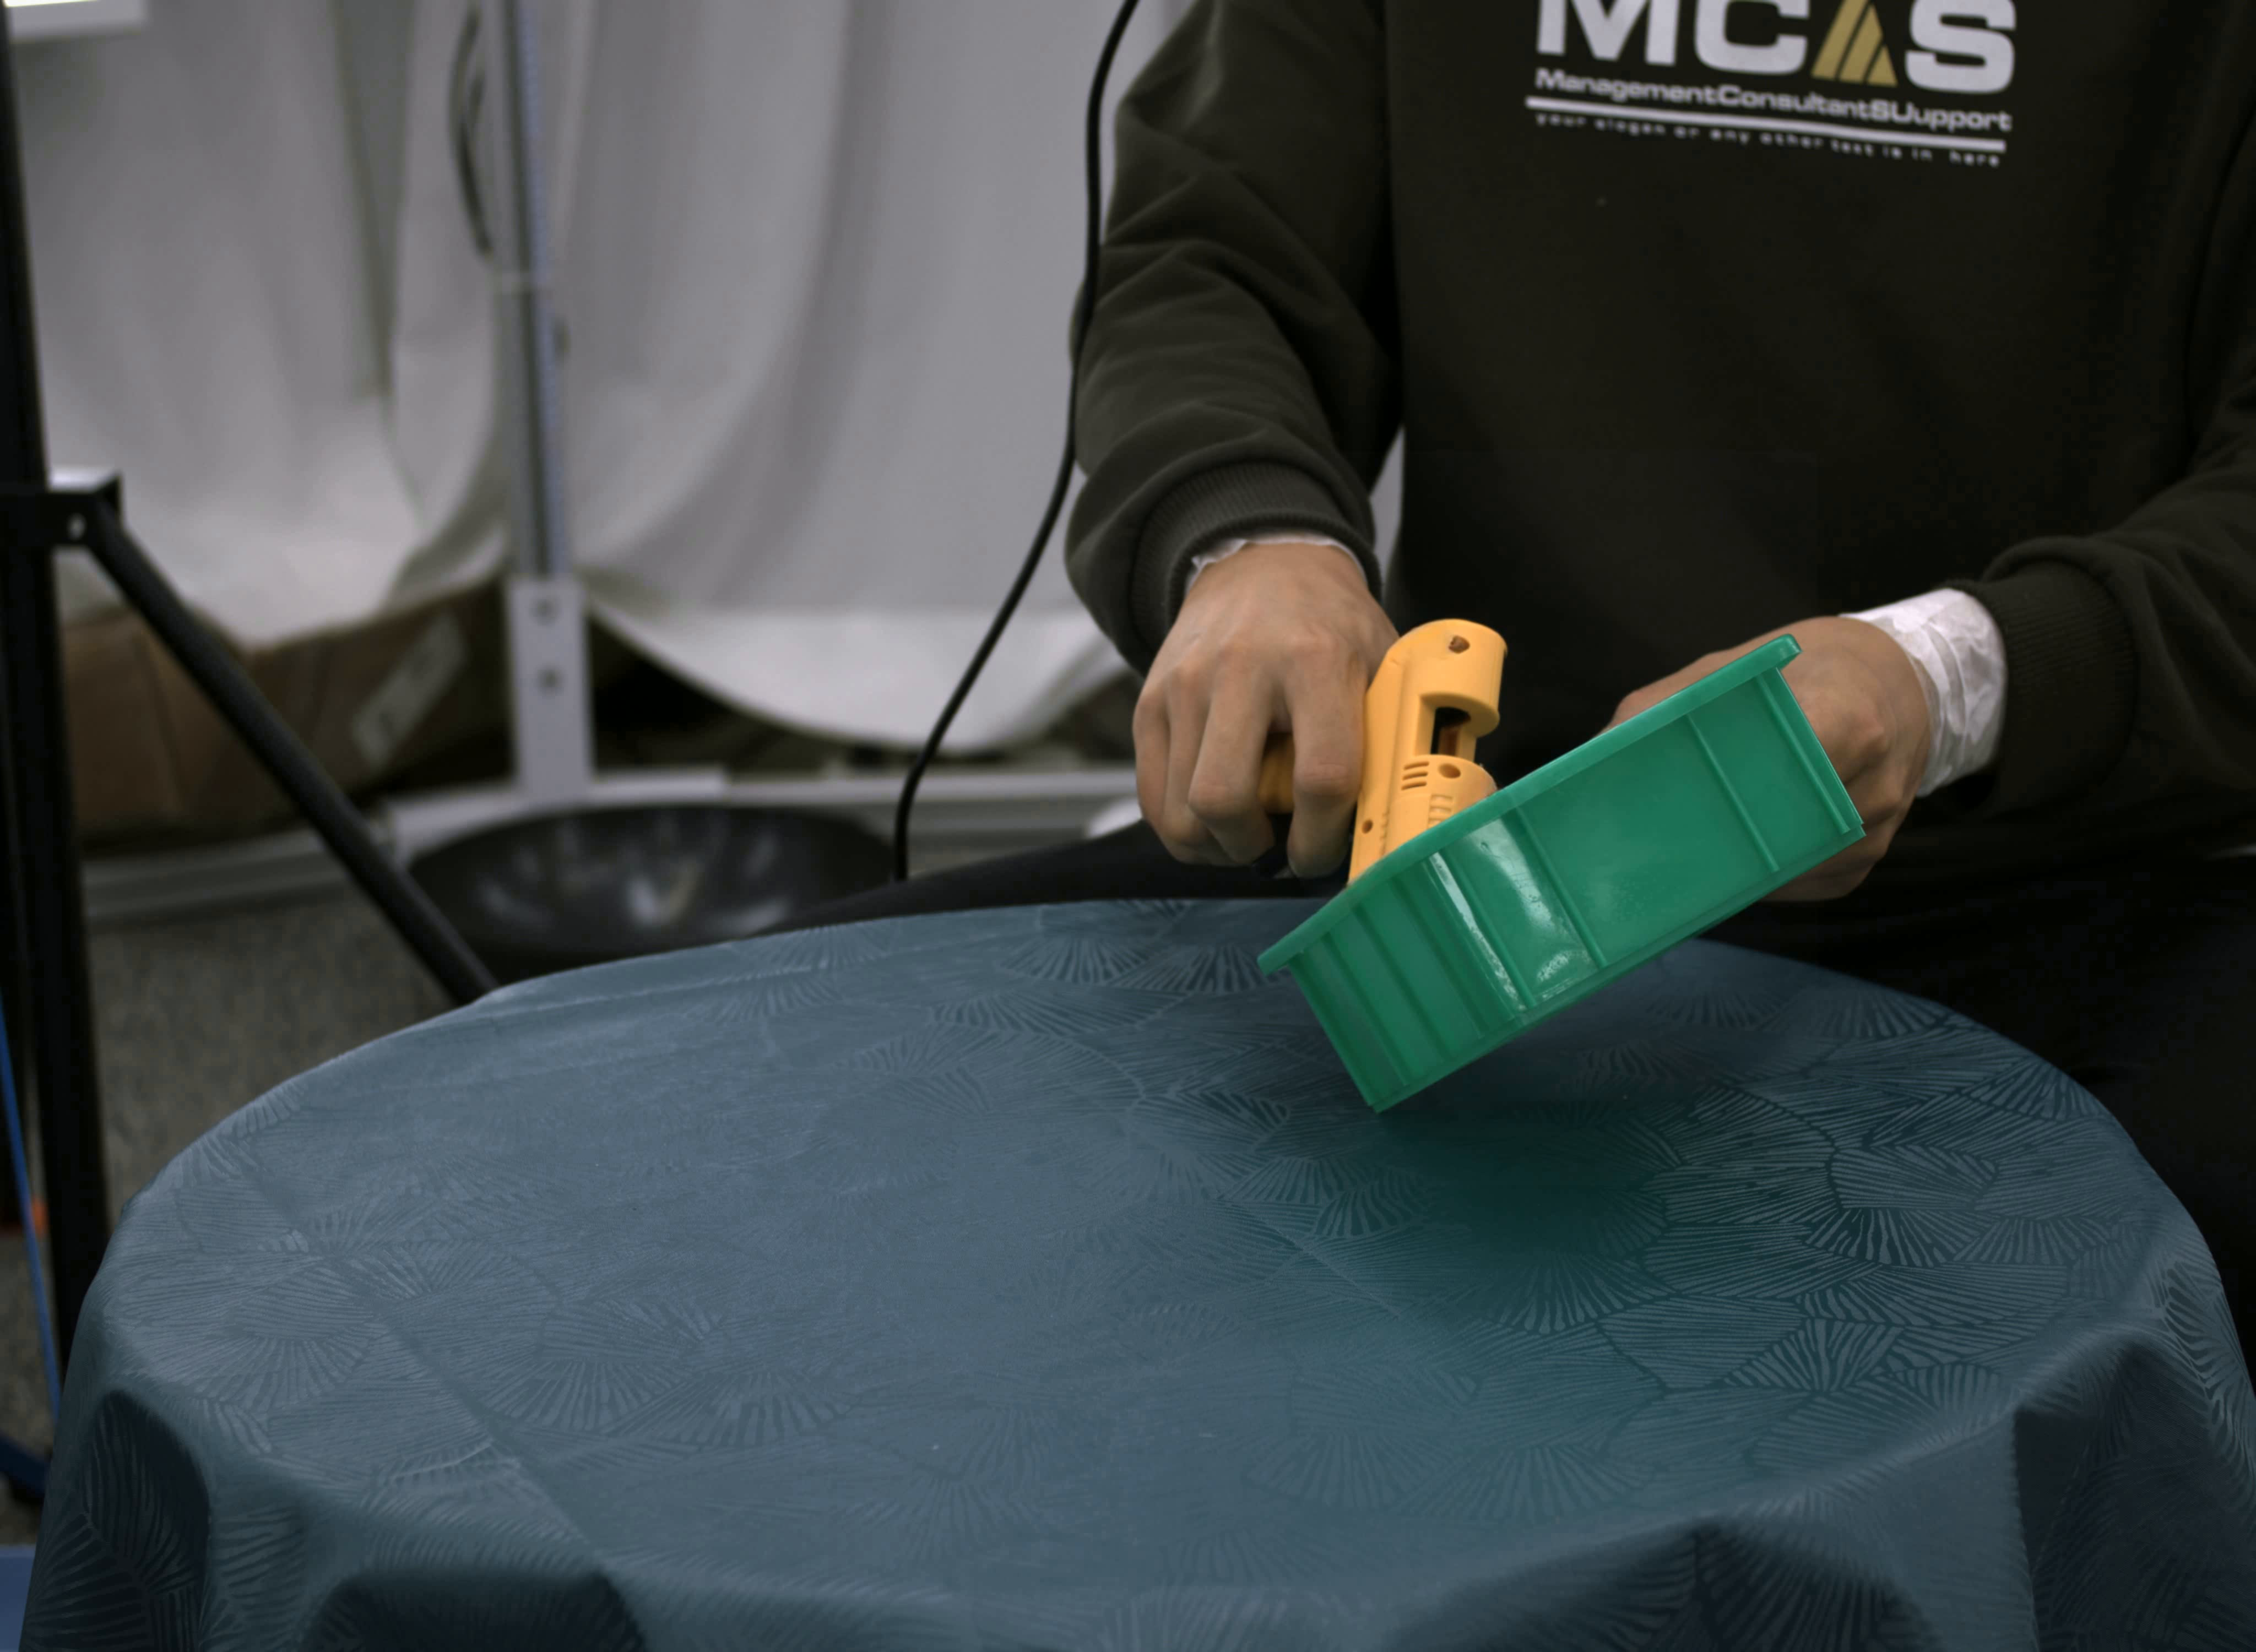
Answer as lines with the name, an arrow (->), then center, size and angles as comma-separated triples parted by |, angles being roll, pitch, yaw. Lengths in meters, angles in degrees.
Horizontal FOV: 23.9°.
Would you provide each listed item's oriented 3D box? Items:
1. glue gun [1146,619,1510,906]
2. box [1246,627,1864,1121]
glue gun -> 0.058, 0.019, 1.627 | 0.135, 0.152, 0.030 | -20, -39, 35
box -> 0.125, 0.021, 1.547 | 0.137, 0.066, 0.211 | -25, -7, -15
